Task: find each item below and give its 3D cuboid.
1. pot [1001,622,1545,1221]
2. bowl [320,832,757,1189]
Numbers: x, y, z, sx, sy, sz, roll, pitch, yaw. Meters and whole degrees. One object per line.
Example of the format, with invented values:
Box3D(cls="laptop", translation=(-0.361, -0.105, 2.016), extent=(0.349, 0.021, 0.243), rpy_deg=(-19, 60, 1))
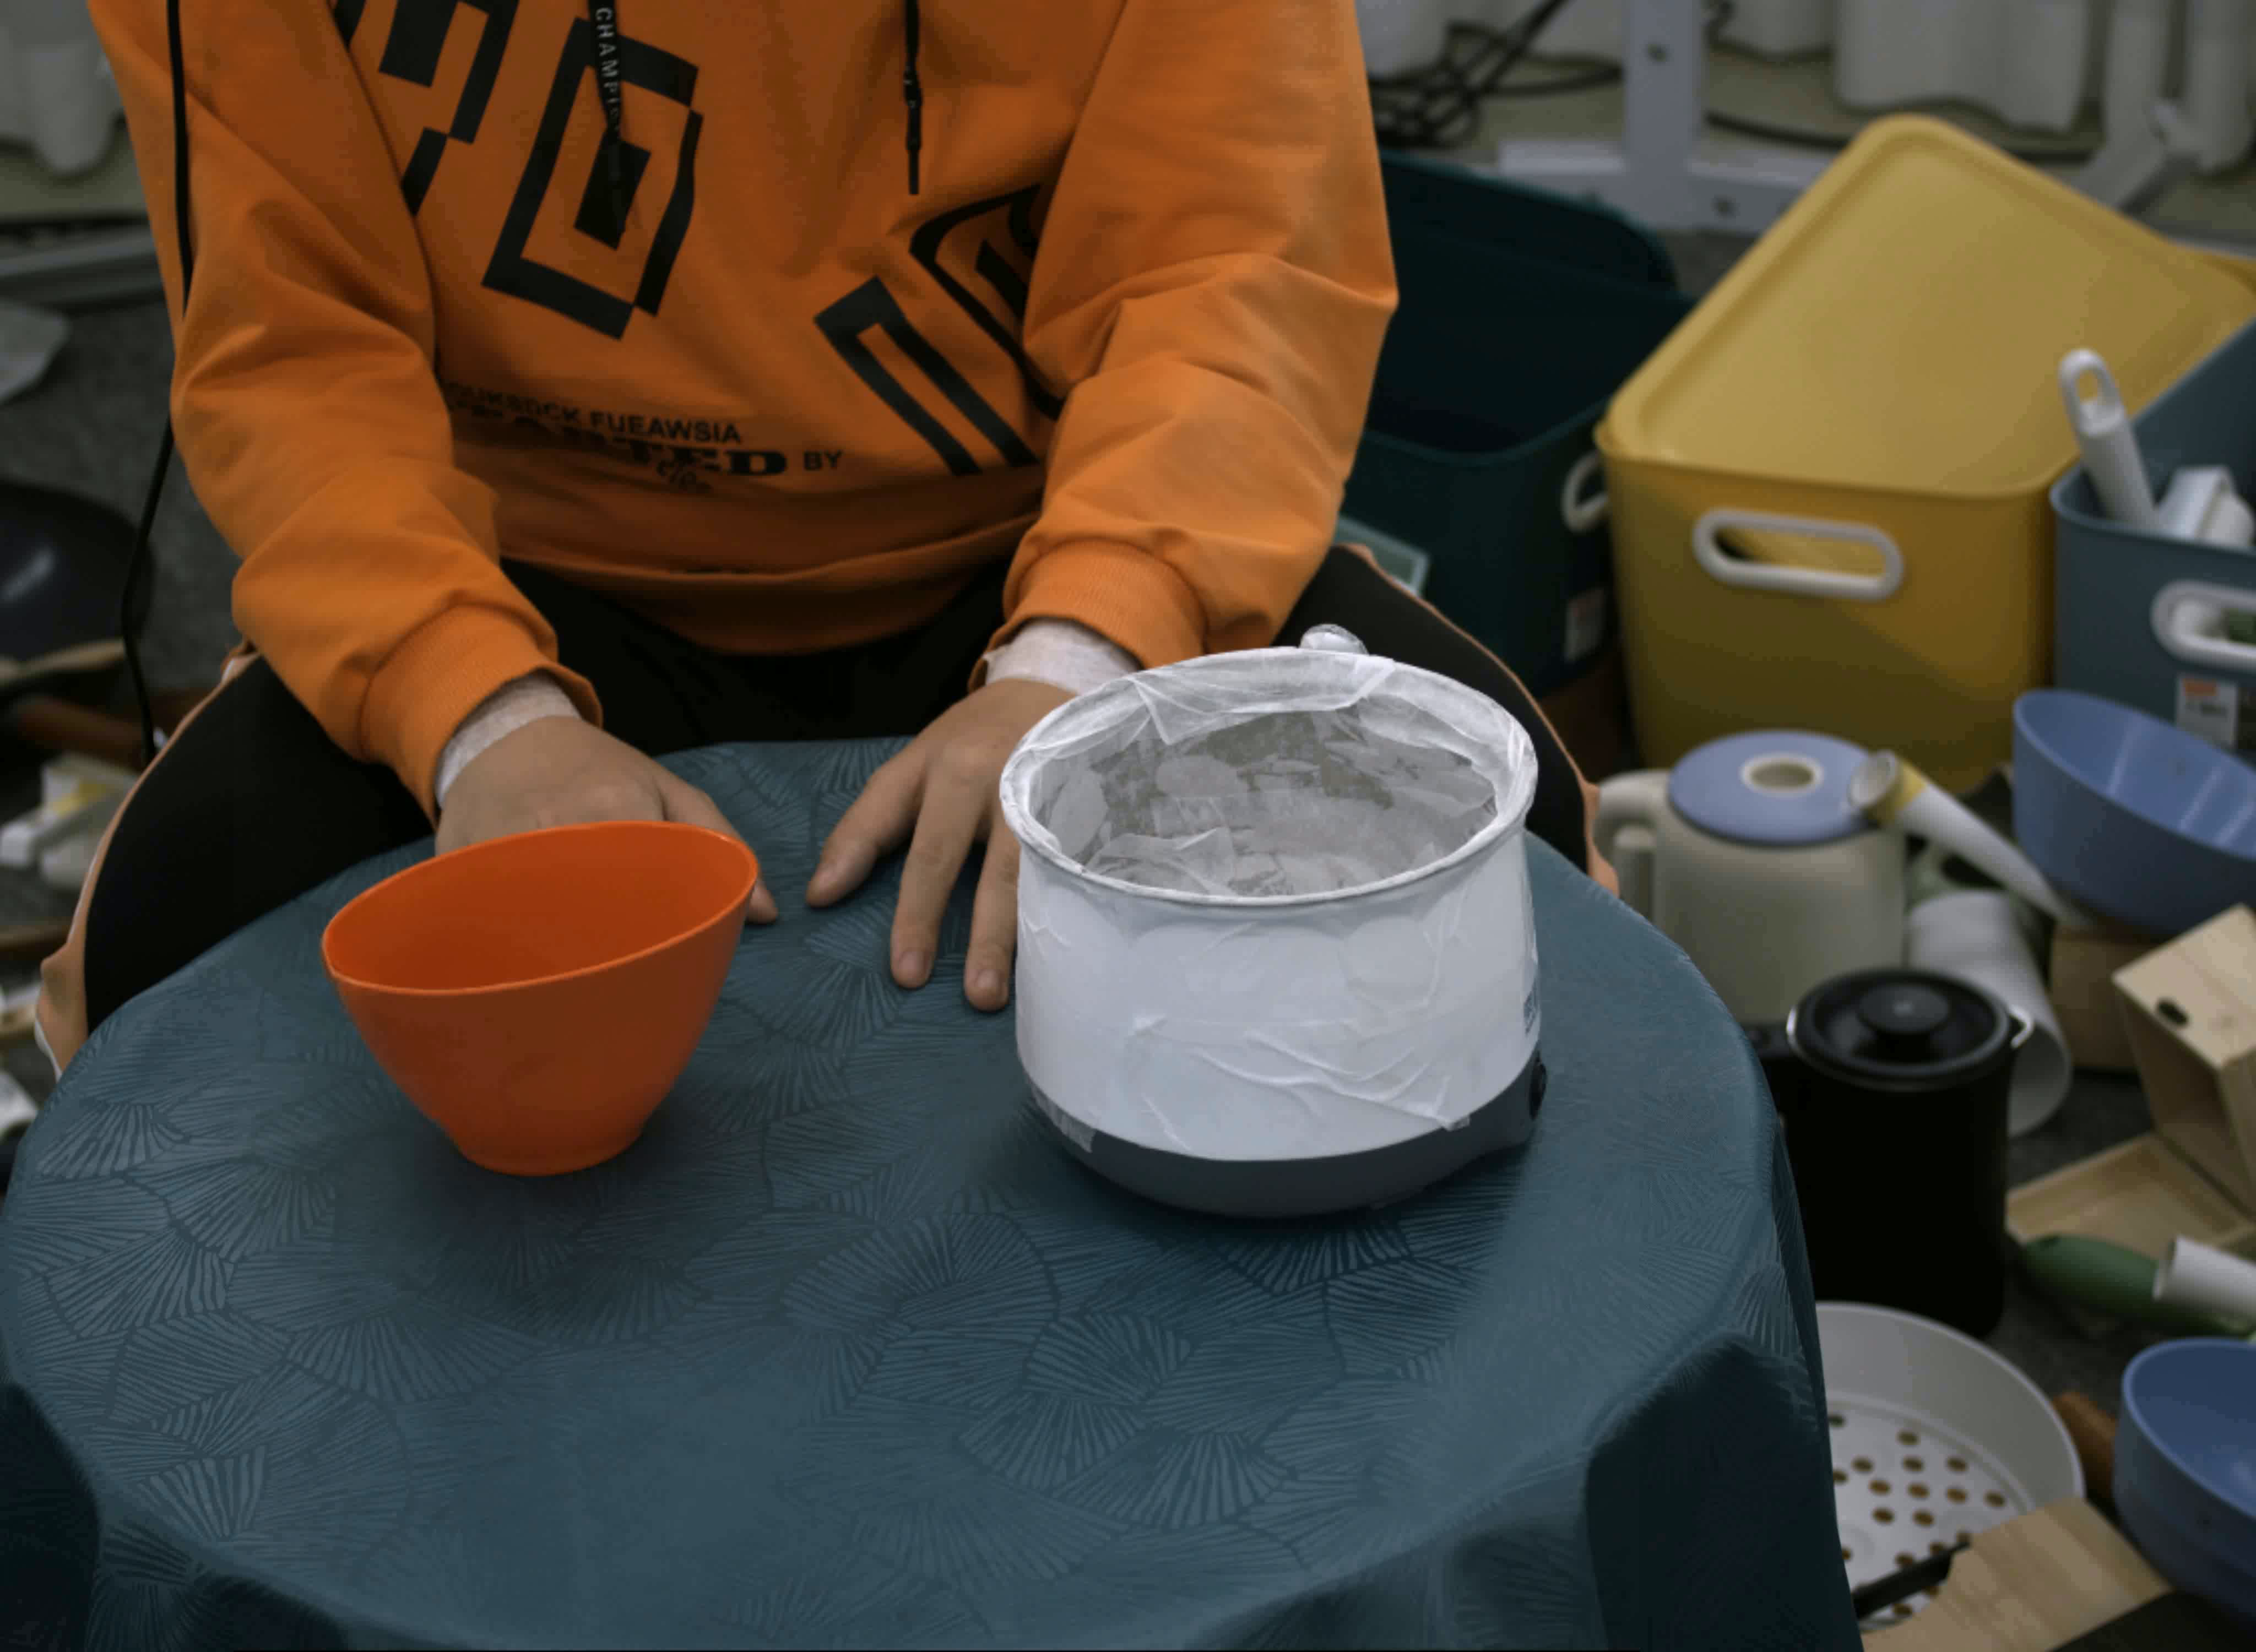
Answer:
Box3D(cls="pot", translation=(0.055, 0.025, 1.896), extent=(0.177, 0.135, 0.238), rpy_deg=(3, 28, 11))
Box3D(cls="bowl", translation=(-0.194, 0.066, 1.887), extent=(0.147, 0.103, 0.150), rpy_deg=(-3, 26, 2))
